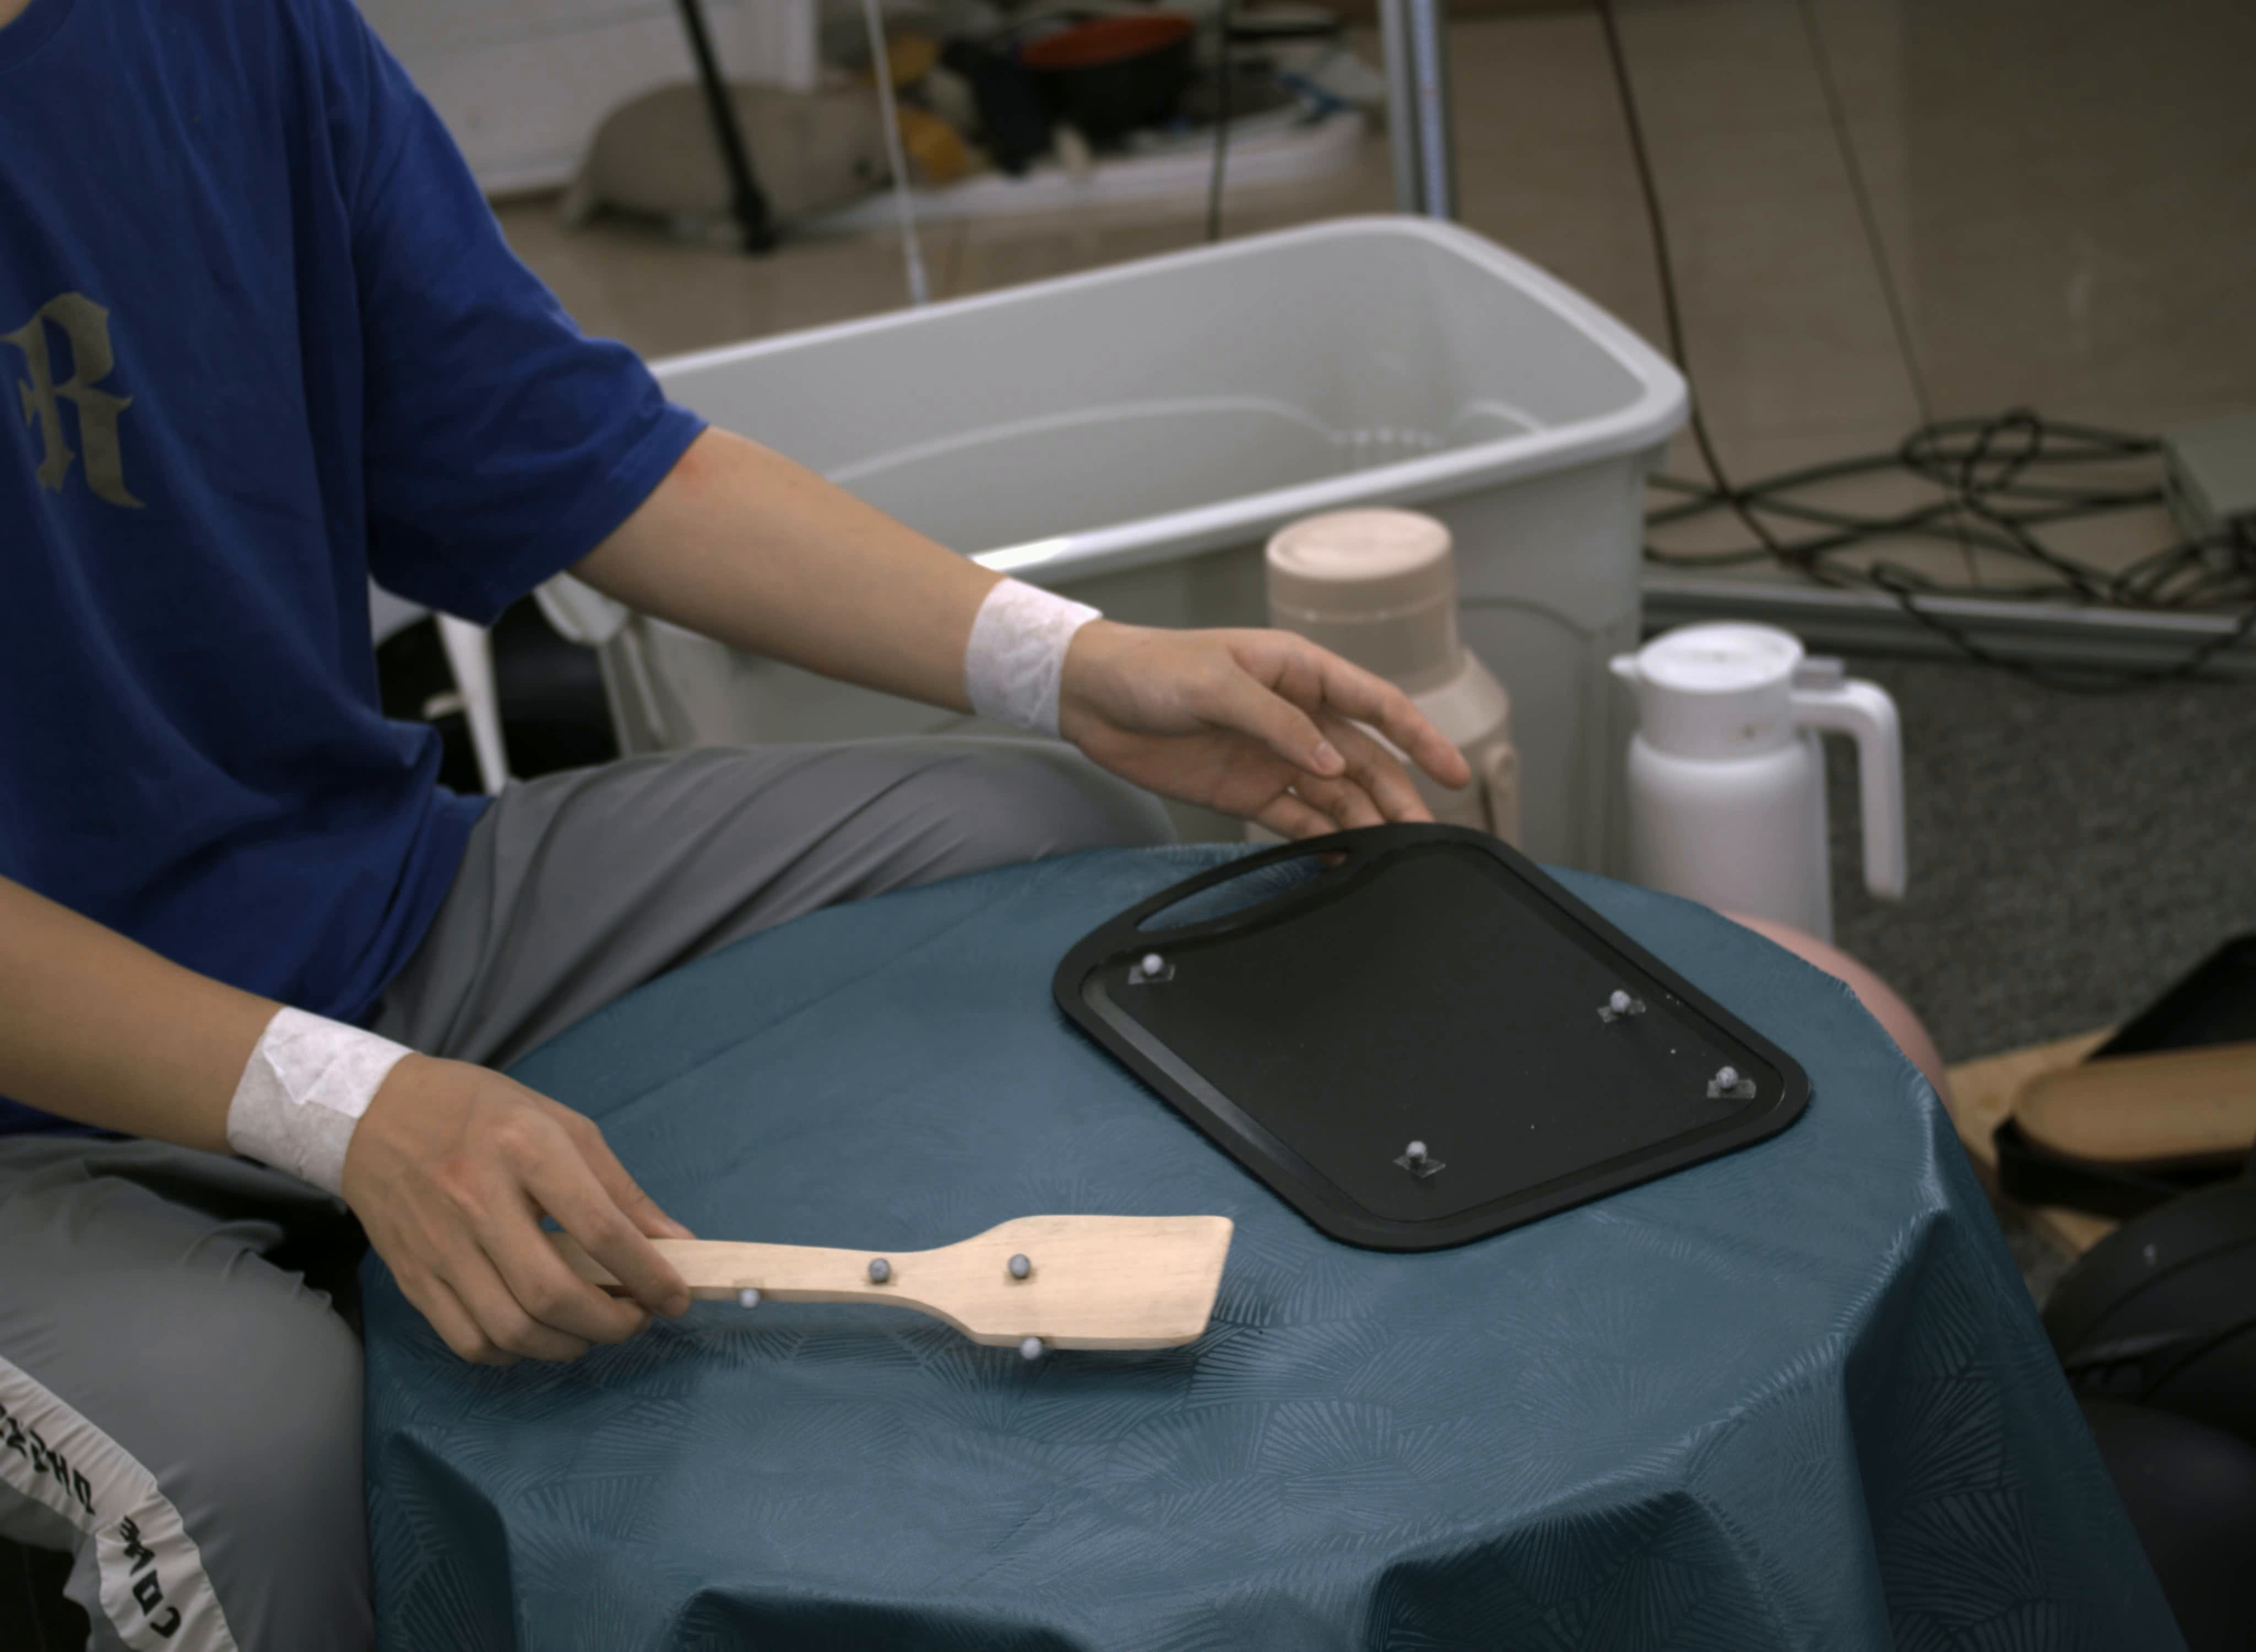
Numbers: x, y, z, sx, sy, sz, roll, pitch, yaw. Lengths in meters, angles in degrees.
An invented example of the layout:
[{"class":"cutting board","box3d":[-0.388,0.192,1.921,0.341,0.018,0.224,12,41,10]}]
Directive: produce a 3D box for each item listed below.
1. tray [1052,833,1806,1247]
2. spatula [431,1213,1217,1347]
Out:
[{"class":"tray","box3d":[0.109,0.076,2.236,0.210,0.010,0.321,-18,29,-20]},{"class":"spatula","box3d":[-0.114,0.162,2.064,0.292,0.011,0.071,1,35,13]}]
